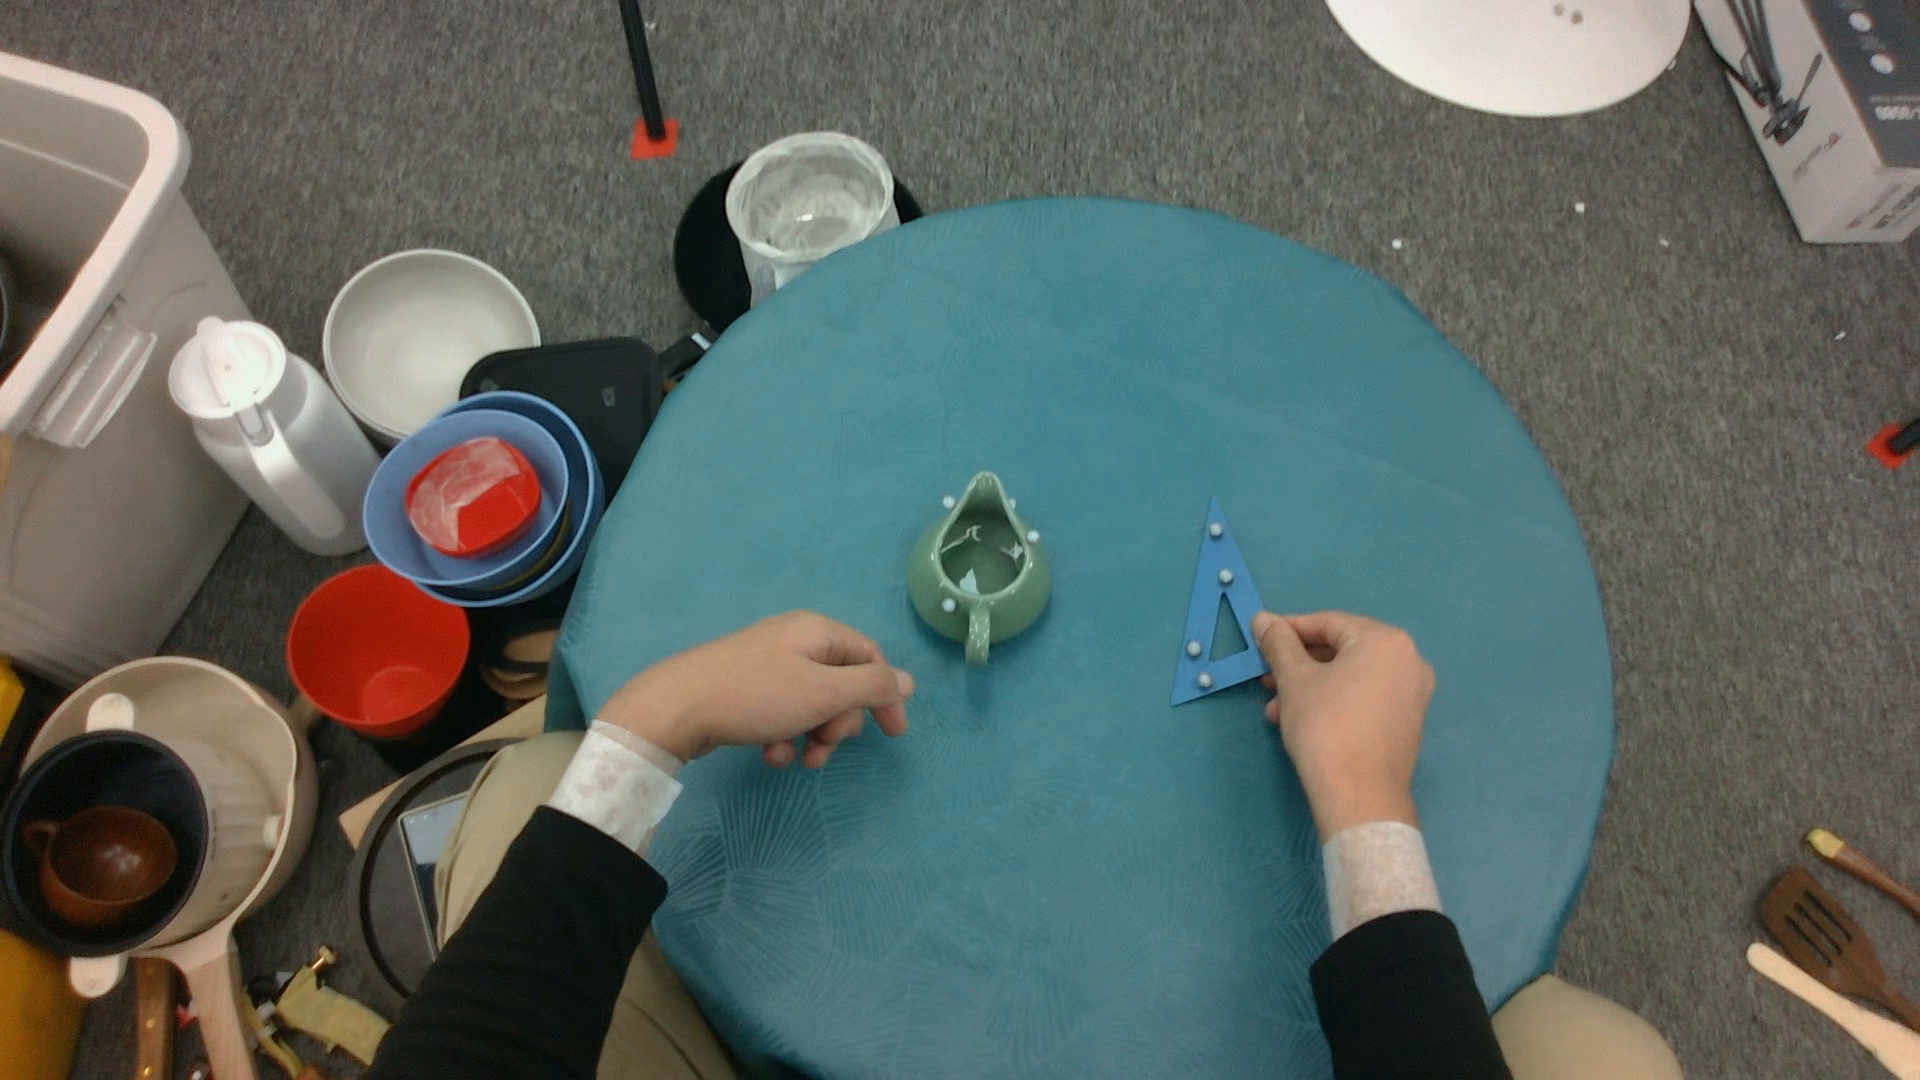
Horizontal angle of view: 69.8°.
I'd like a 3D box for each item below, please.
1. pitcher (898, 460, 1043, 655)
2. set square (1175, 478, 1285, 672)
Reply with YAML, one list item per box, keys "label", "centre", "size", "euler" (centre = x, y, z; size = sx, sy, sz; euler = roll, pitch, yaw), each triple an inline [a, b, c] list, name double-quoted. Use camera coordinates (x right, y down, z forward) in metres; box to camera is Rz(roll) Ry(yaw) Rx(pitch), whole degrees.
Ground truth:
- label: "pitcher"
  centre: [0.006, 0.016, 0.784]
  size: [0.084, 0.056, 0.113]
  euler: [0, 65, 0]
- label: "set square"
  centre: [0.168, 0.022, 0.808]
  size: [0.061, 0.006, 0.132]
  euler: [9, 64, 20]
